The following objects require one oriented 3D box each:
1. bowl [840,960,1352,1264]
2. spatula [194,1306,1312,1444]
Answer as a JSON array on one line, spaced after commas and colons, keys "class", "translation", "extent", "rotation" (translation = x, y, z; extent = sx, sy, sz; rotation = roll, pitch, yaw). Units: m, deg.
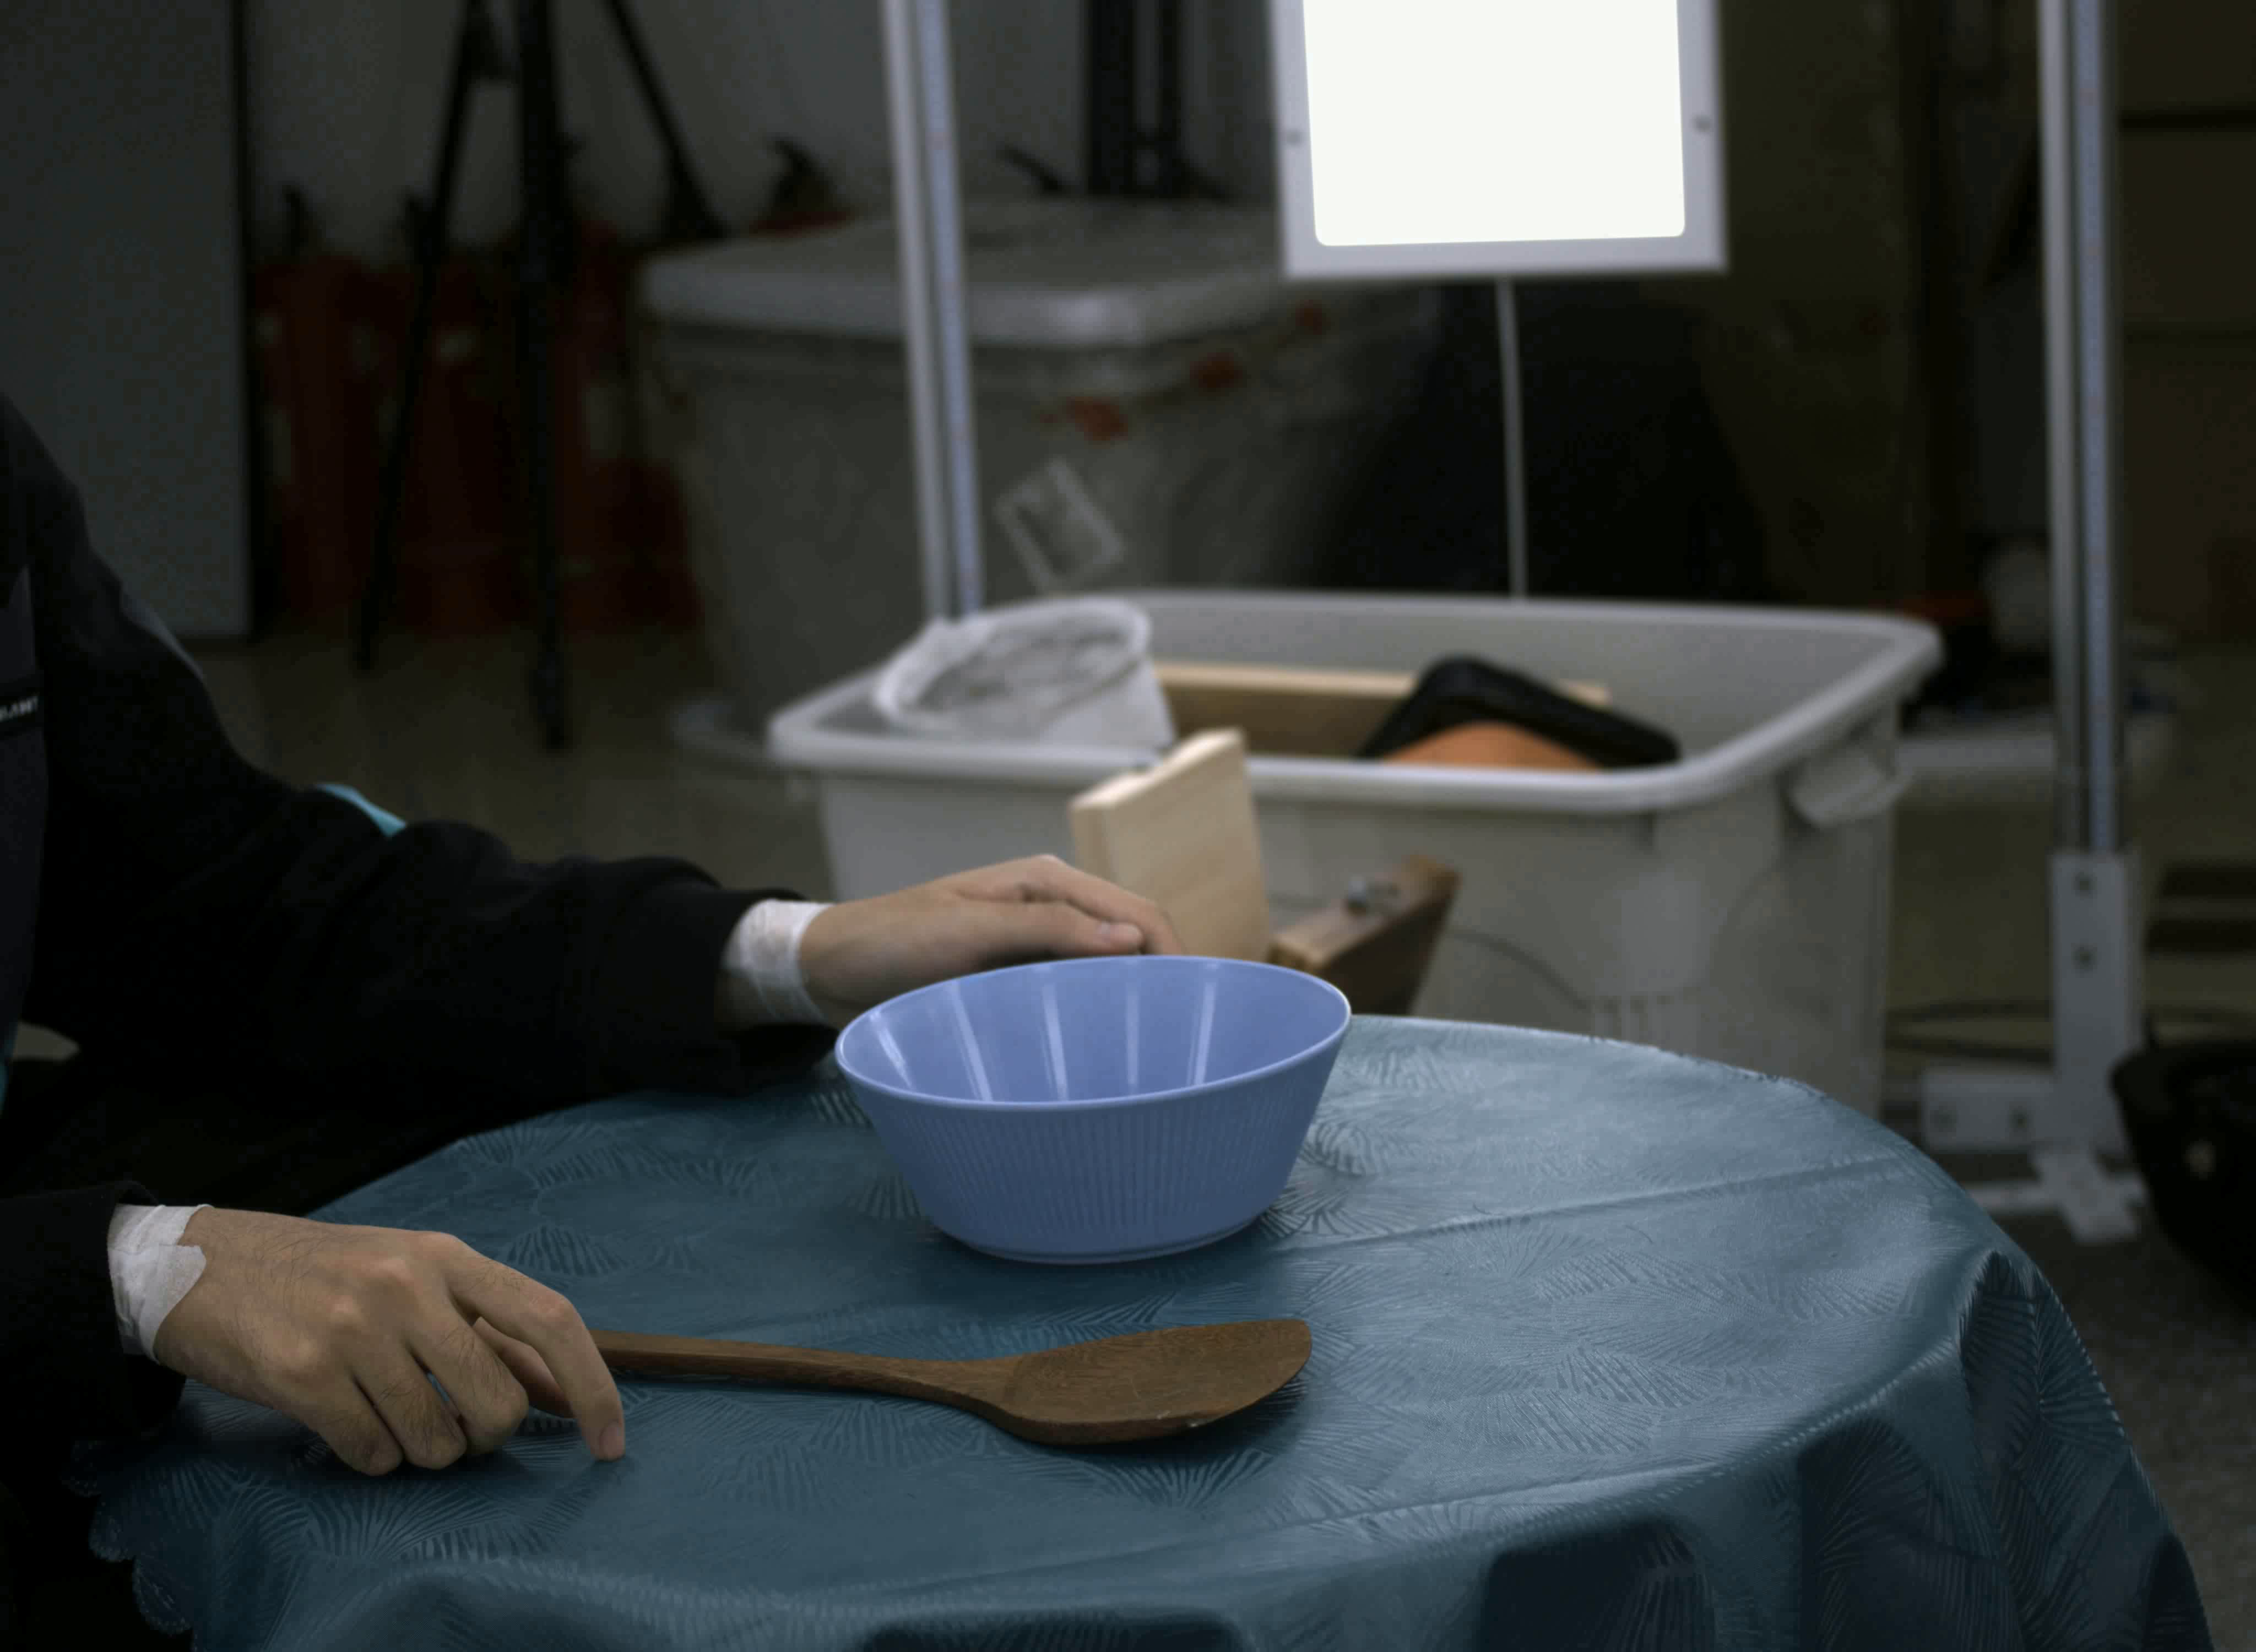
[{"class": "bowl", "translation": [-0.008, 0.099, 1.866], "extent": [0.175, 0.070, 0.176], "rotation": [-6, 13, 0]}, {"class": "spatula", "translation": [-0.128, 0.168, 1.744], "extent": [0.392, 0.016, 0.094], "rotation": [1, 14, 24]}]
